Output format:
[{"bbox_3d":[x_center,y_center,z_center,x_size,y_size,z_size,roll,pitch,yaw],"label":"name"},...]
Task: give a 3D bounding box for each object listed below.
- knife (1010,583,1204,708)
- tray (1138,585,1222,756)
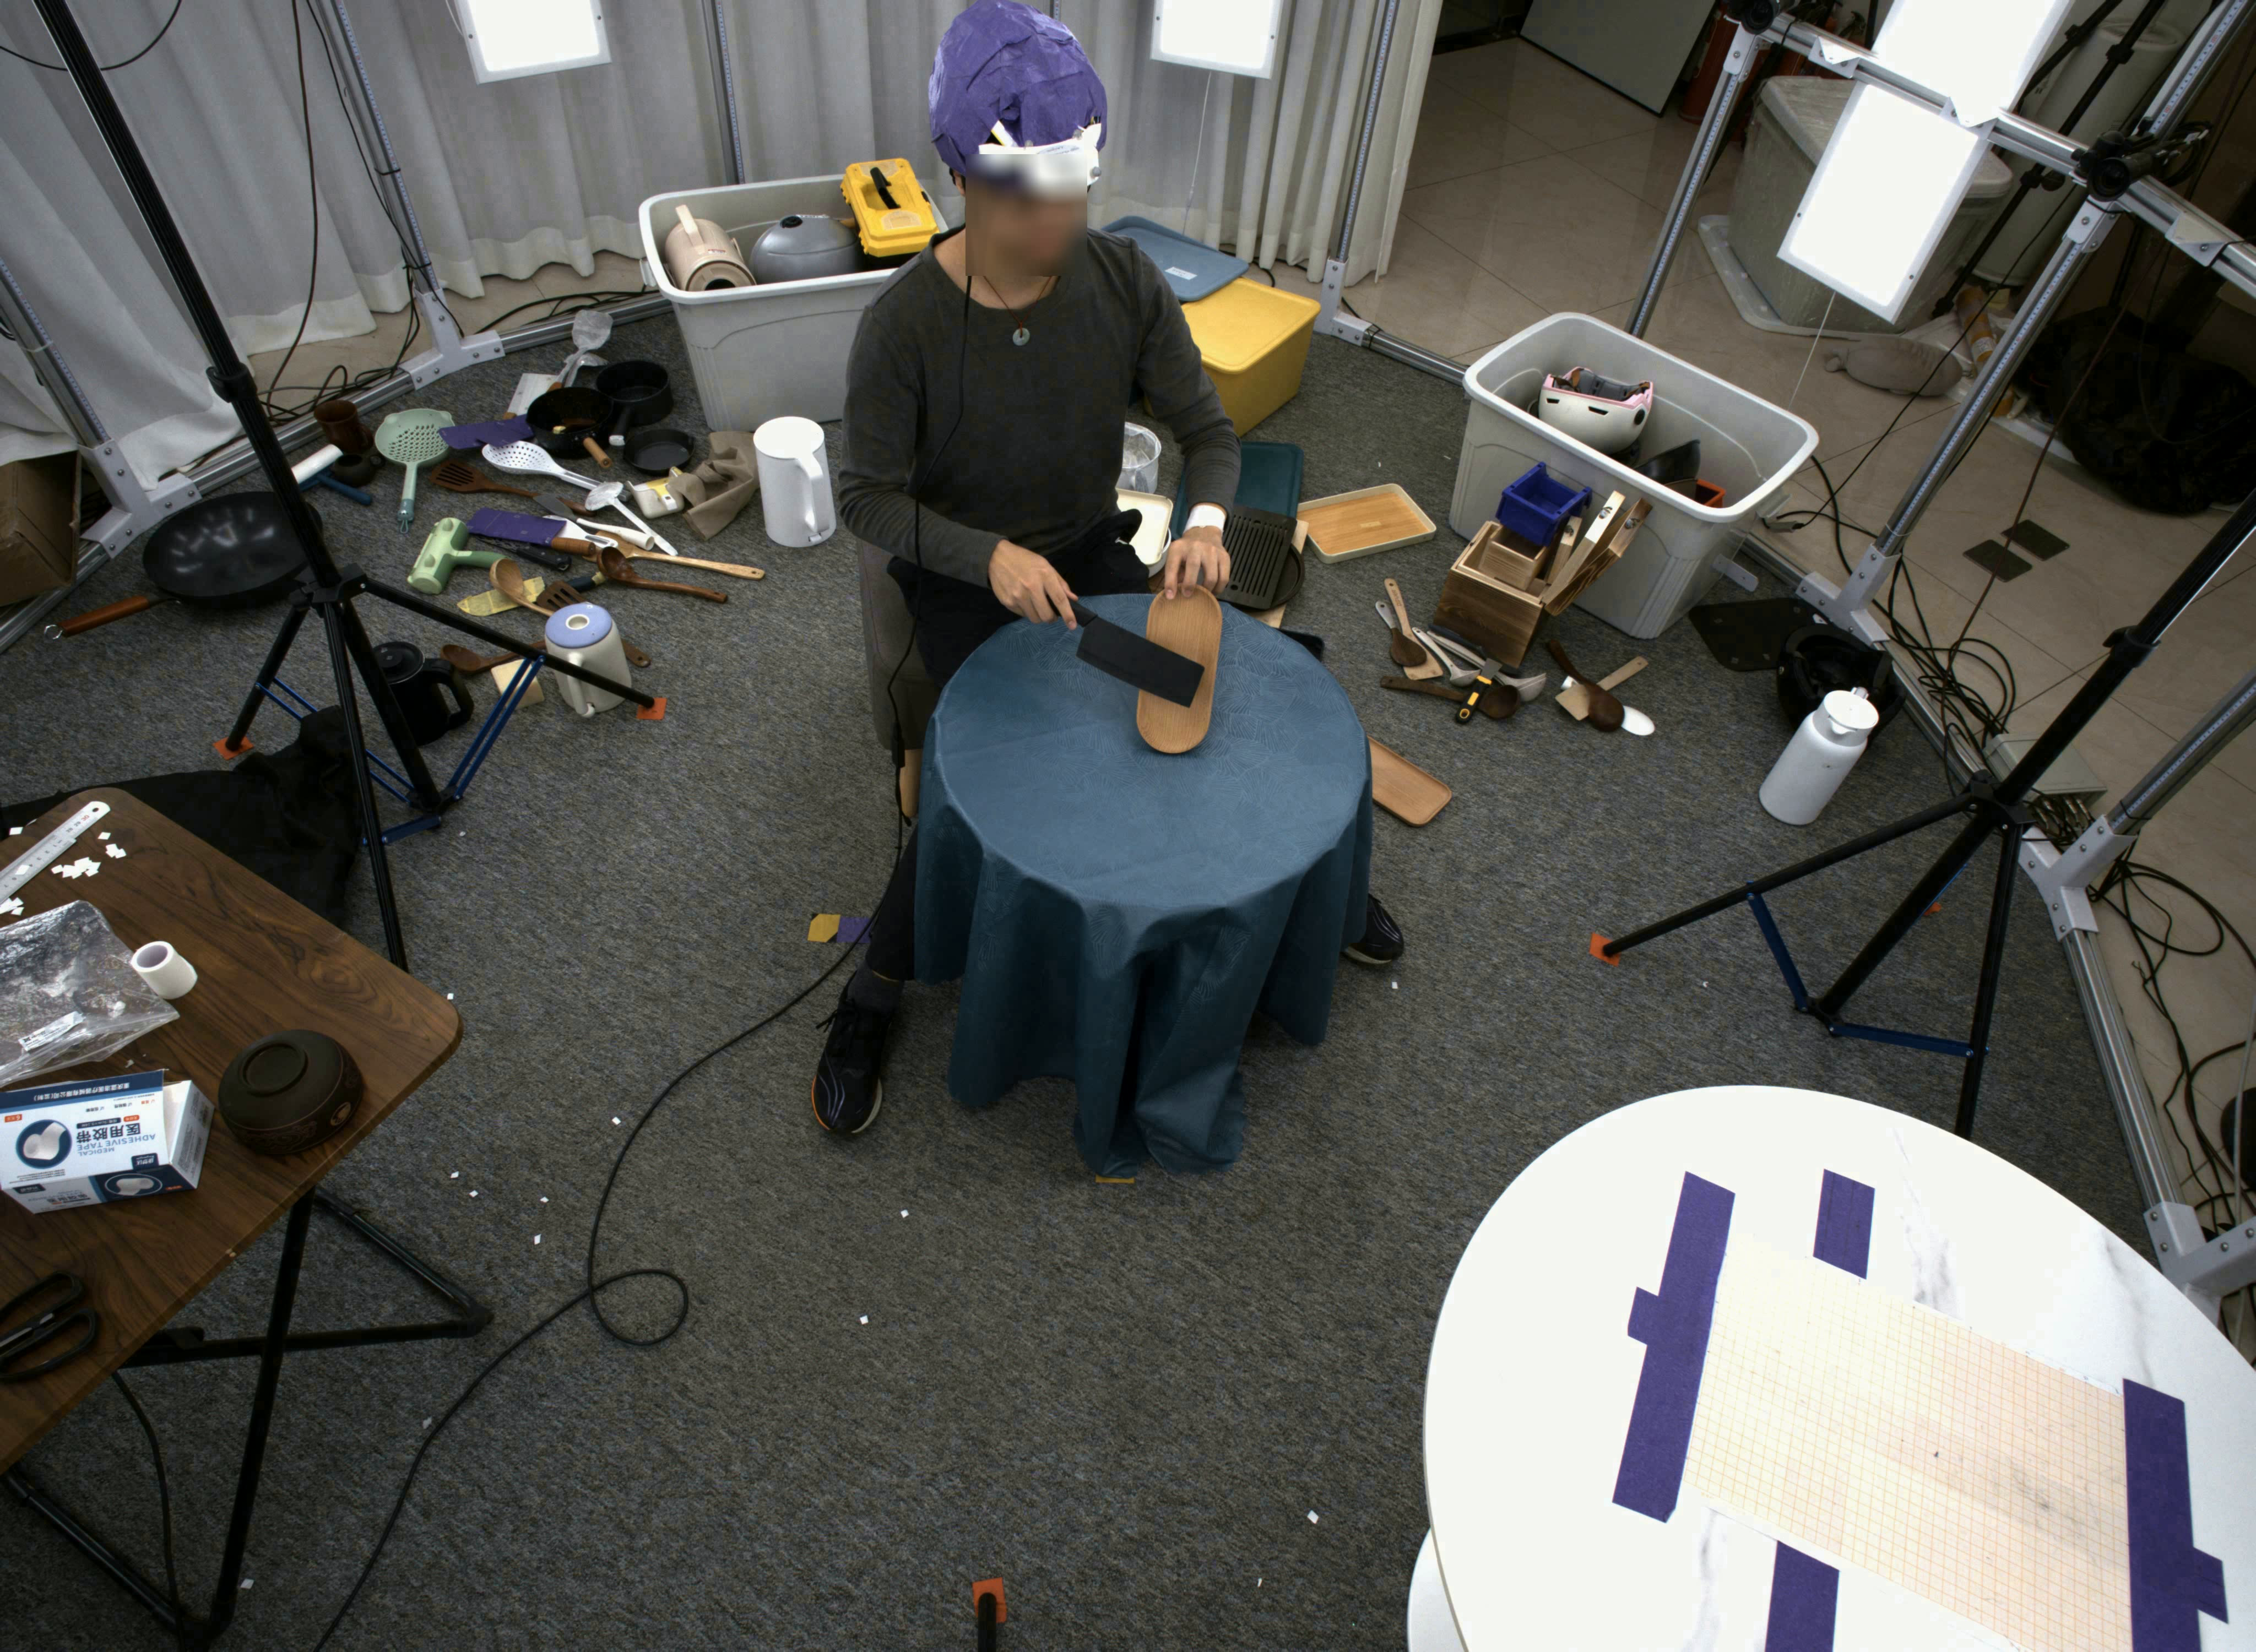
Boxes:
[{"bbox_3d":[-0.034,-0.250,1.738,0.305,0.080,0.021,32,21,17],"label":"knife"},{"bbox_3d":[0.070,-0.210,1.740,0.101,0.229,0.020,5,10,-1],"label":"tray"}]
